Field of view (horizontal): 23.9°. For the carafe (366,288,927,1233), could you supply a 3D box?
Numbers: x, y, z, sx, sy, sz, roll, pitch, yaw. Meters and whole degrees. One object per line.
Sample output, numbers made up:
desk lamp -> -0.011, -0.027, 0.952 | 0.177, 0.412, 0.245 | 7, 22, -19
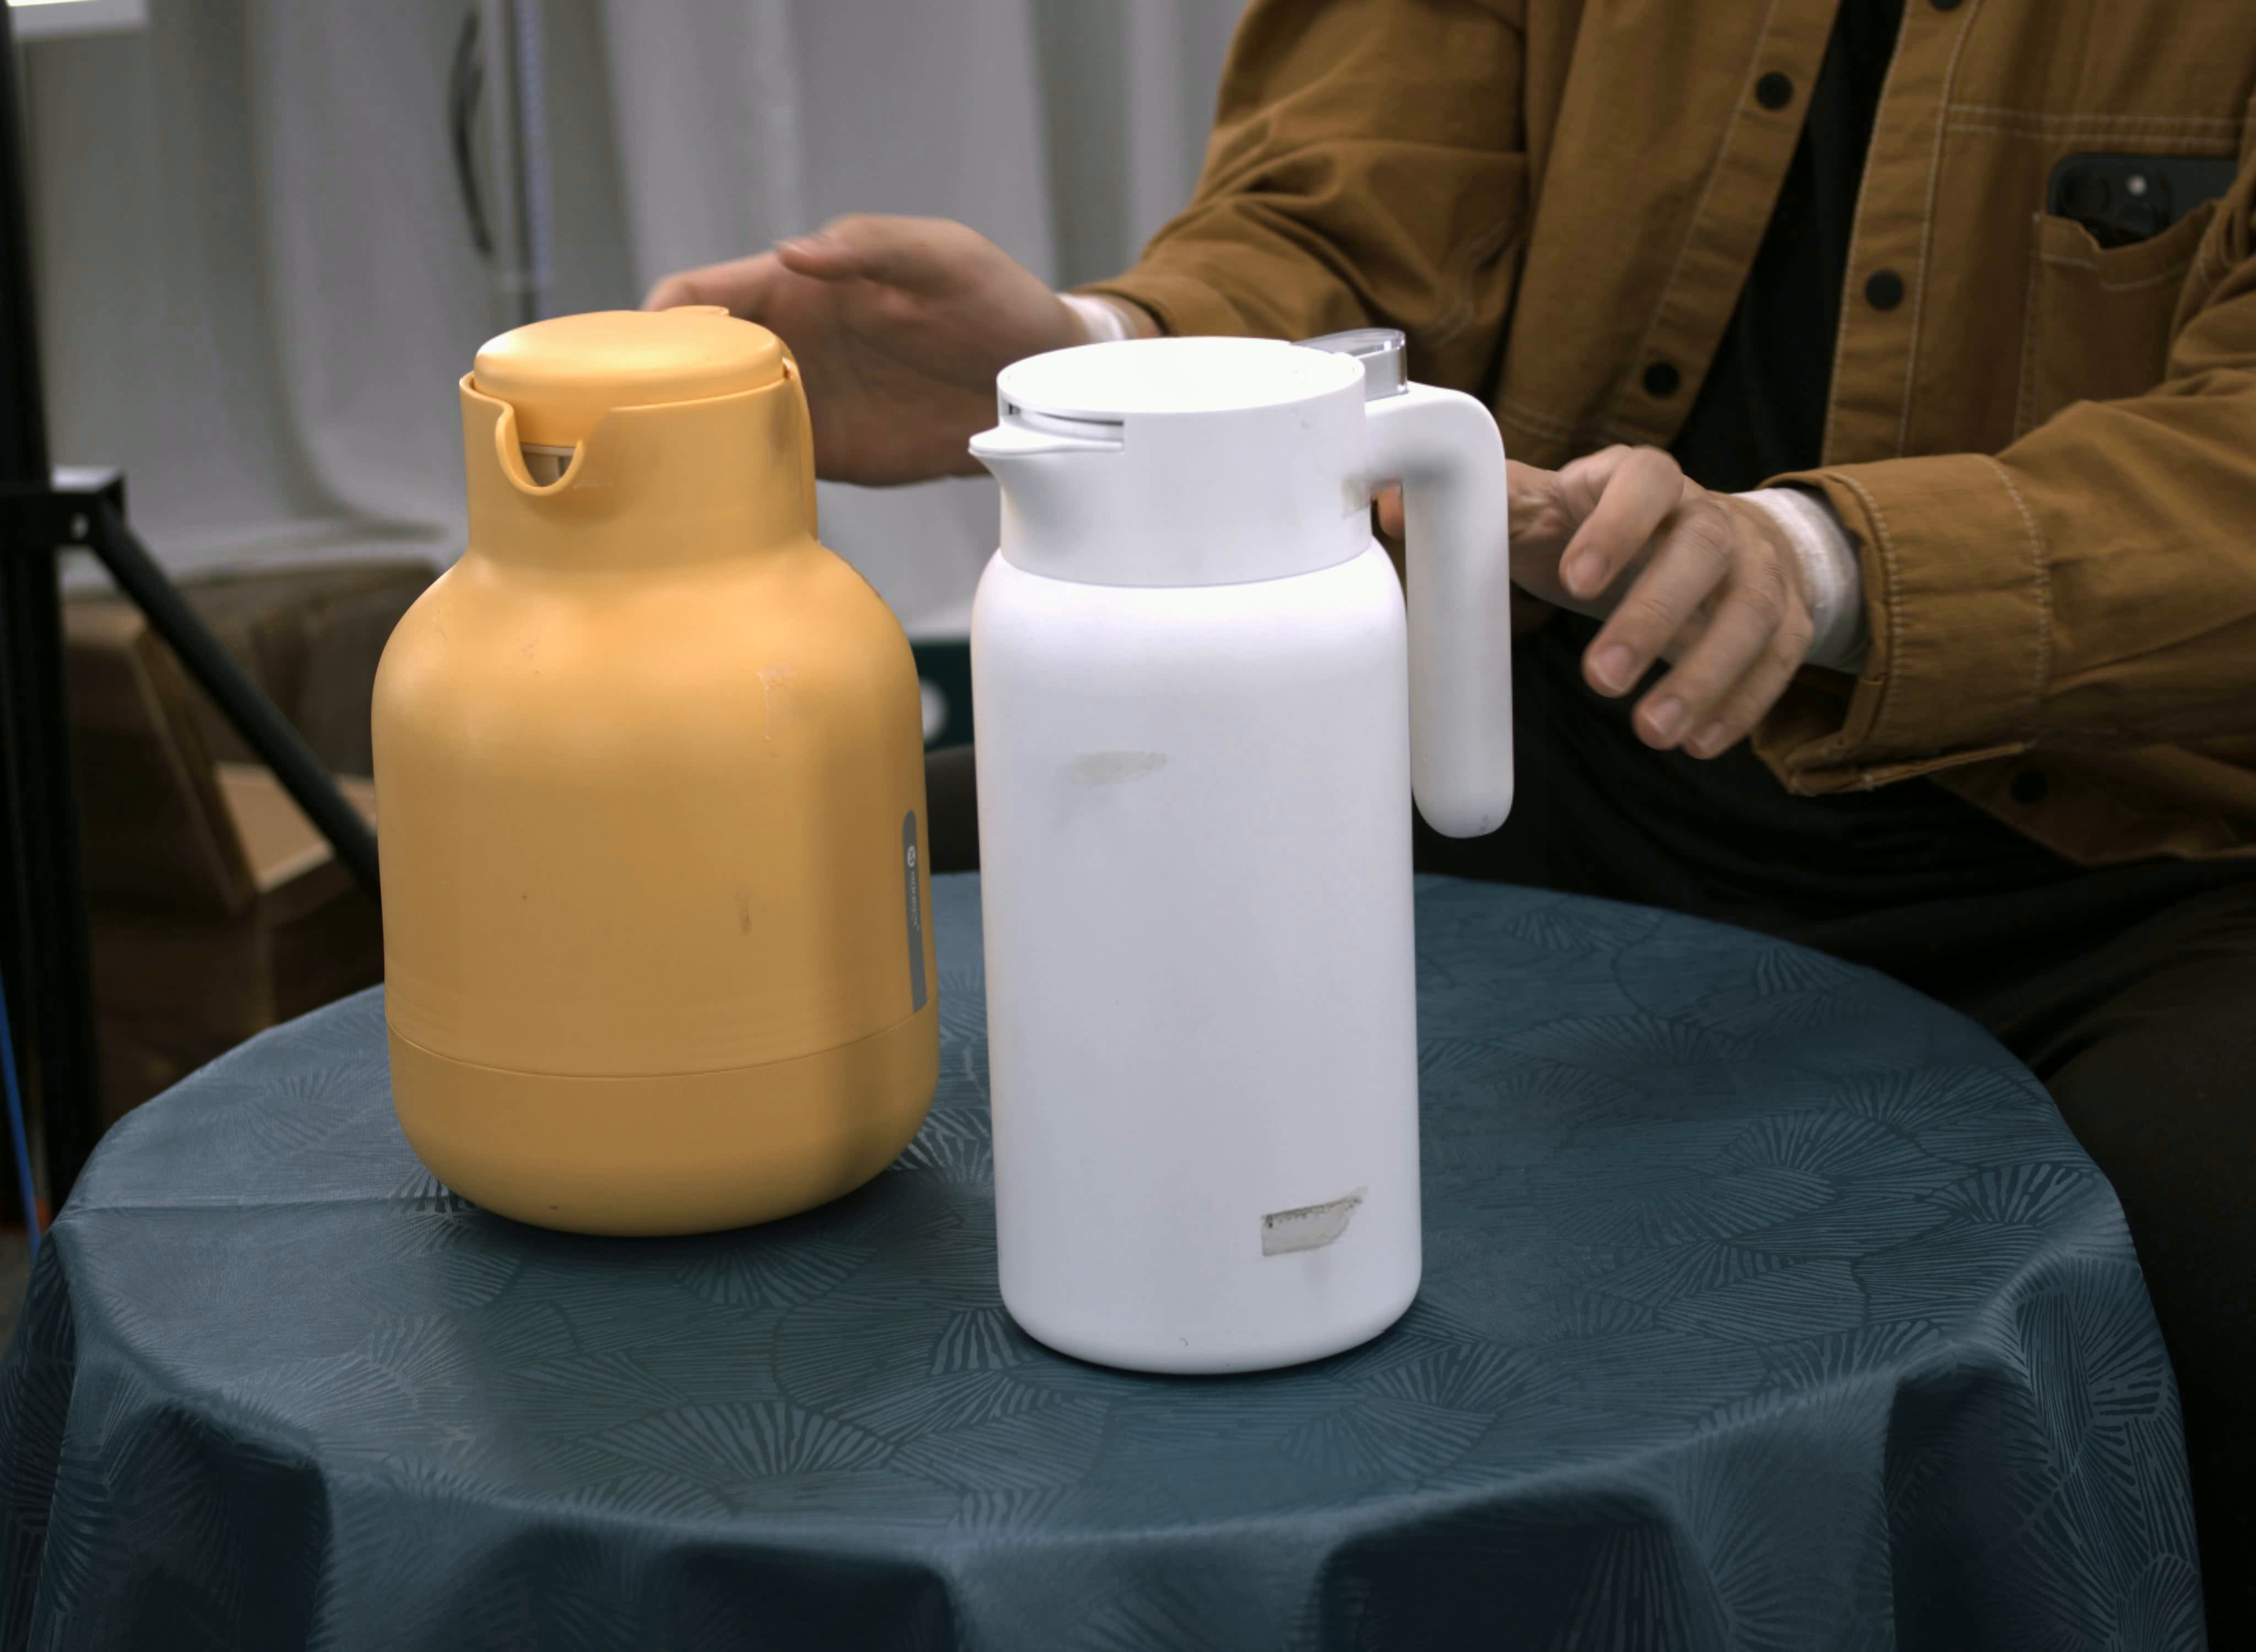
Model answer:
carafe -> -0.134, -0.027, 1.573 | 0.165, 0.260, 0.200 | 6, 18, 18

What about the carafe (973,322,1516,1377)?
carafe -> 0.032, 0.002, 1.435 | 0.169, 0.269, 0.126 | -13, 17, -36
